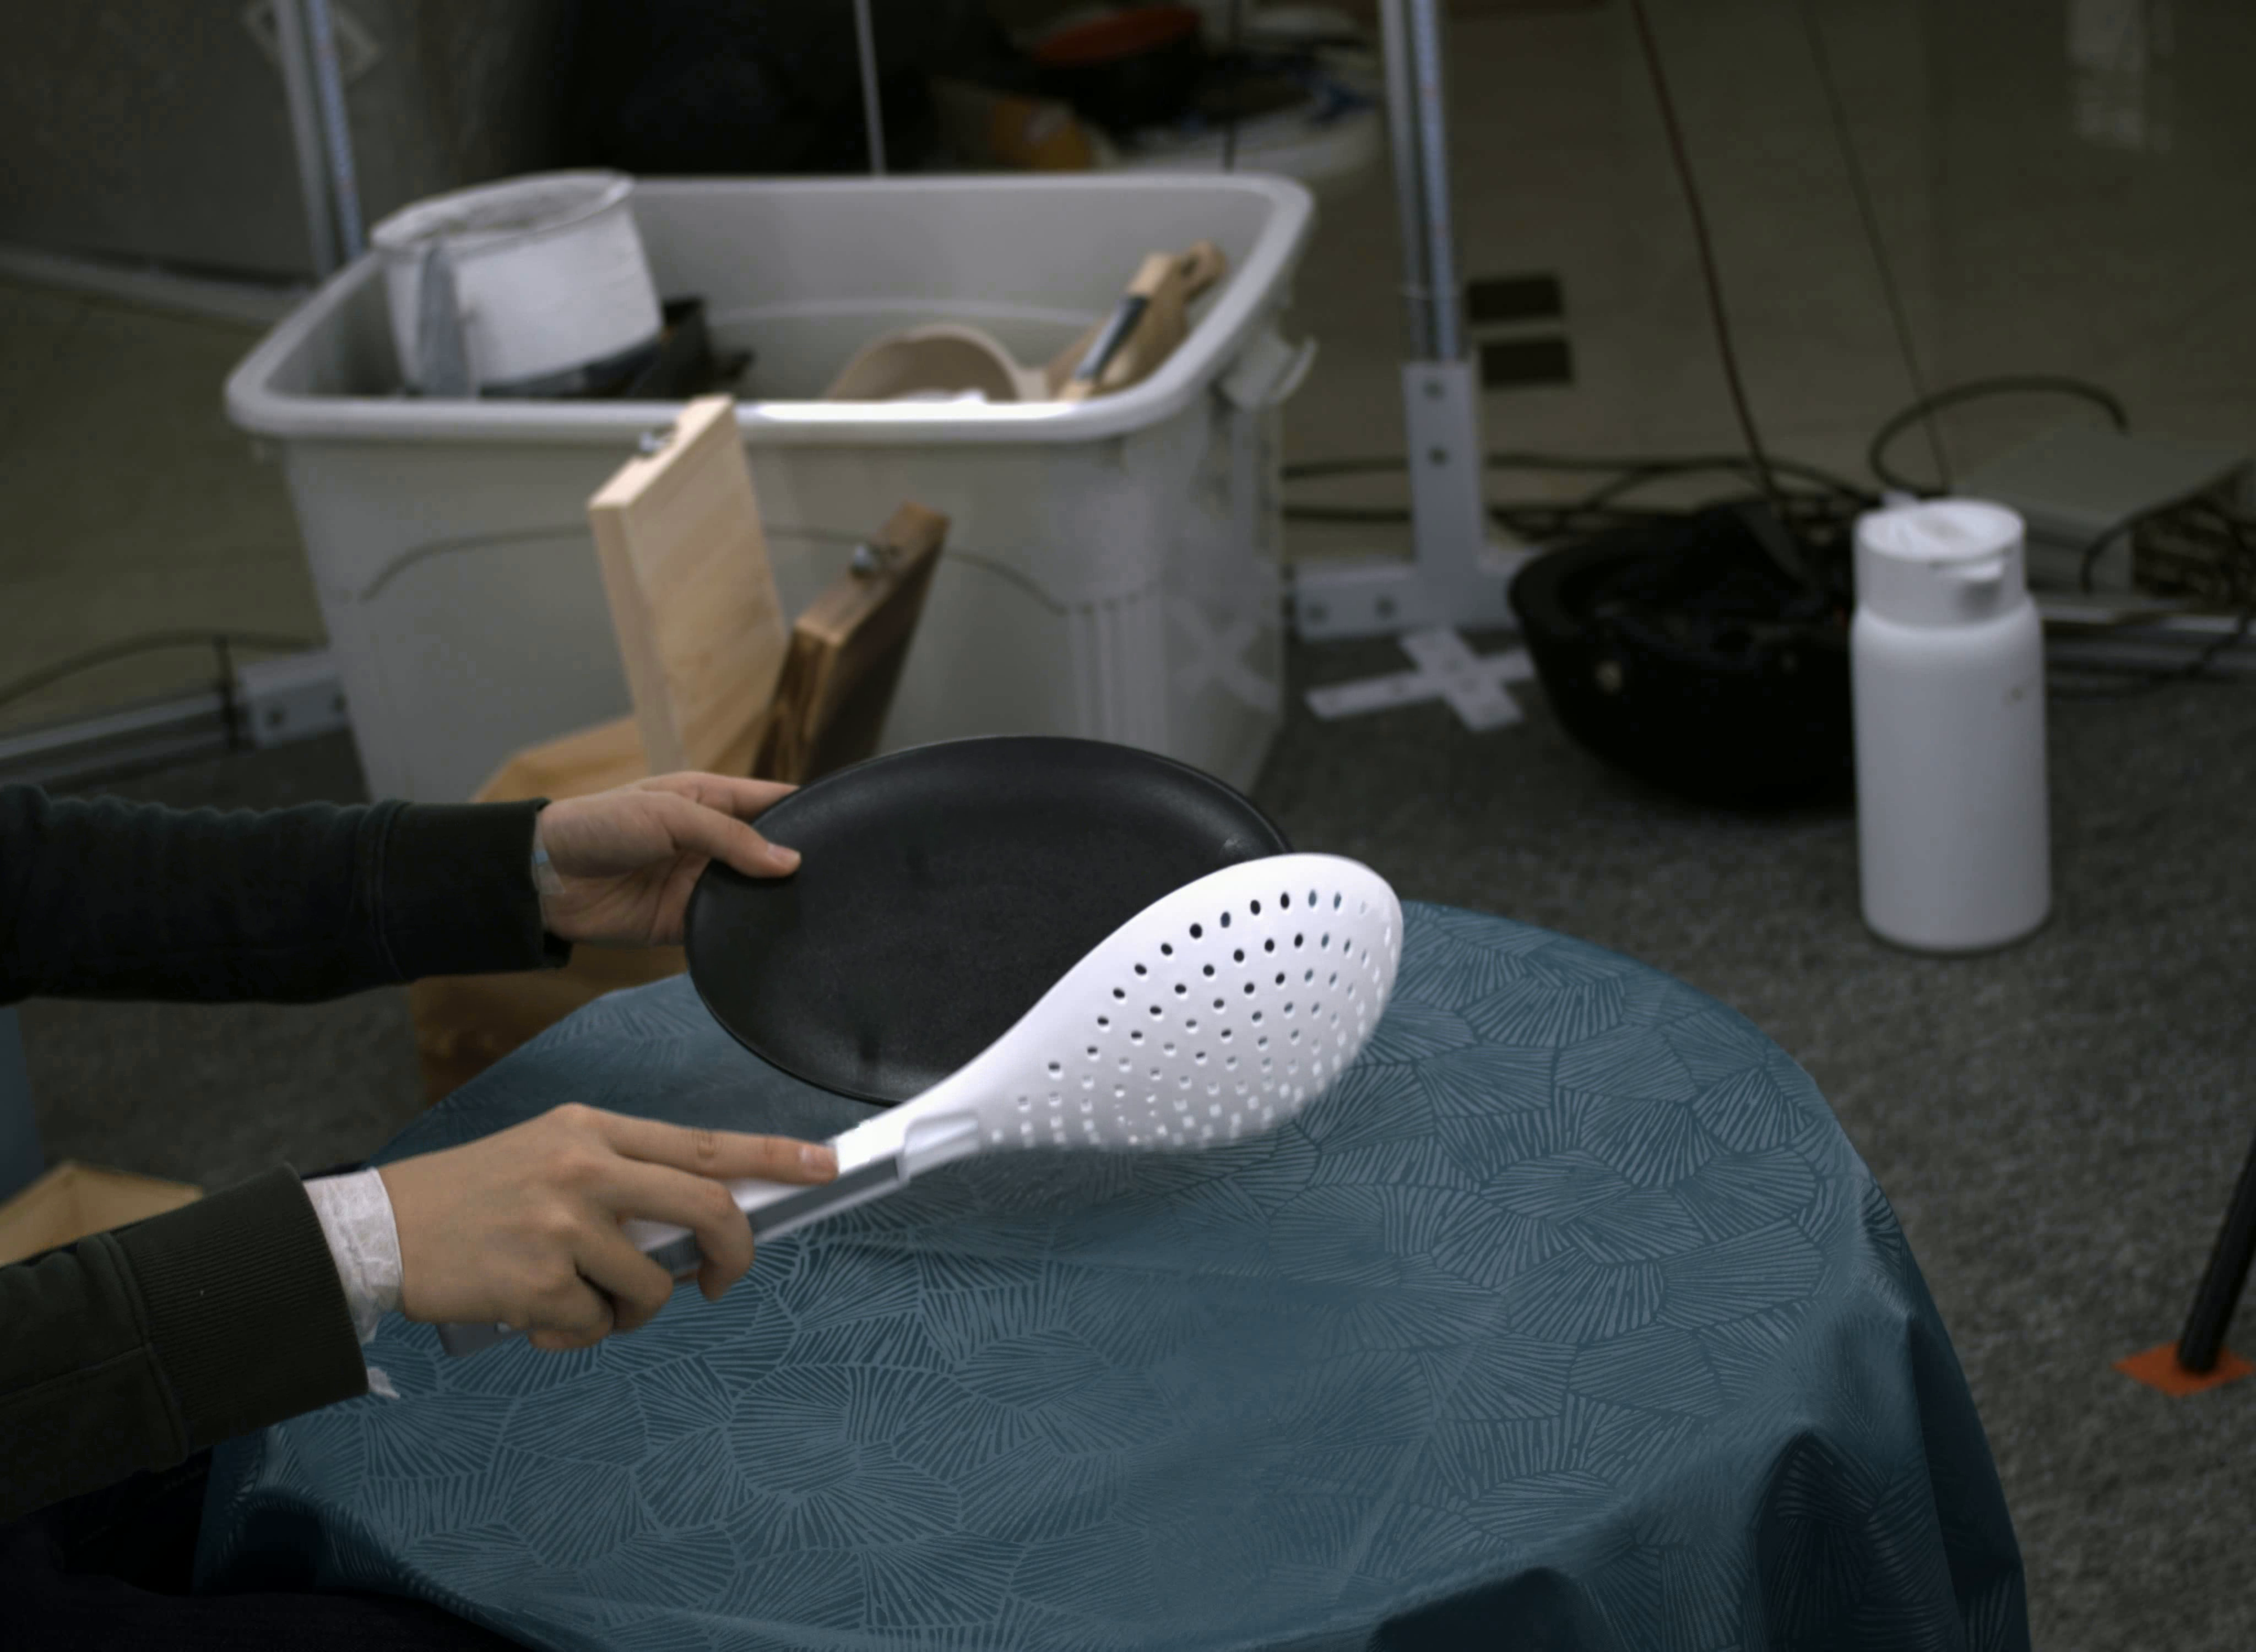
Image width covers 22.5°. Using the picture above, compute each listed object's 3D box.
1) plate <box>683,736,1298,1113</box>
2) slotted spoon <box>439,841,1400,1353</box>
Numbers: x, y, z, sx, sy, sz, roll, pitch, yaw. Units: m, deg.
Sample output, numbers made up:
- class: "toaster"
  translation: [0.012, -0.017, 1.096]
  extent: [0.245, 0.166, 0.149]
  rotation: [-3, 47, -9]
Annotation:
- class: "plate"
  translation: [-0.051, 0.043, 2.199]
  extent: [0.244, 0.024, 0.240]
  rotation: [-2, 36, 2]
- class: "slotted spoon"
  translation: [-0.065, 0.098, 1.886]
  extent: [0.349, 0.138, 0.045]
  rotation: [-18, 55, -8]
